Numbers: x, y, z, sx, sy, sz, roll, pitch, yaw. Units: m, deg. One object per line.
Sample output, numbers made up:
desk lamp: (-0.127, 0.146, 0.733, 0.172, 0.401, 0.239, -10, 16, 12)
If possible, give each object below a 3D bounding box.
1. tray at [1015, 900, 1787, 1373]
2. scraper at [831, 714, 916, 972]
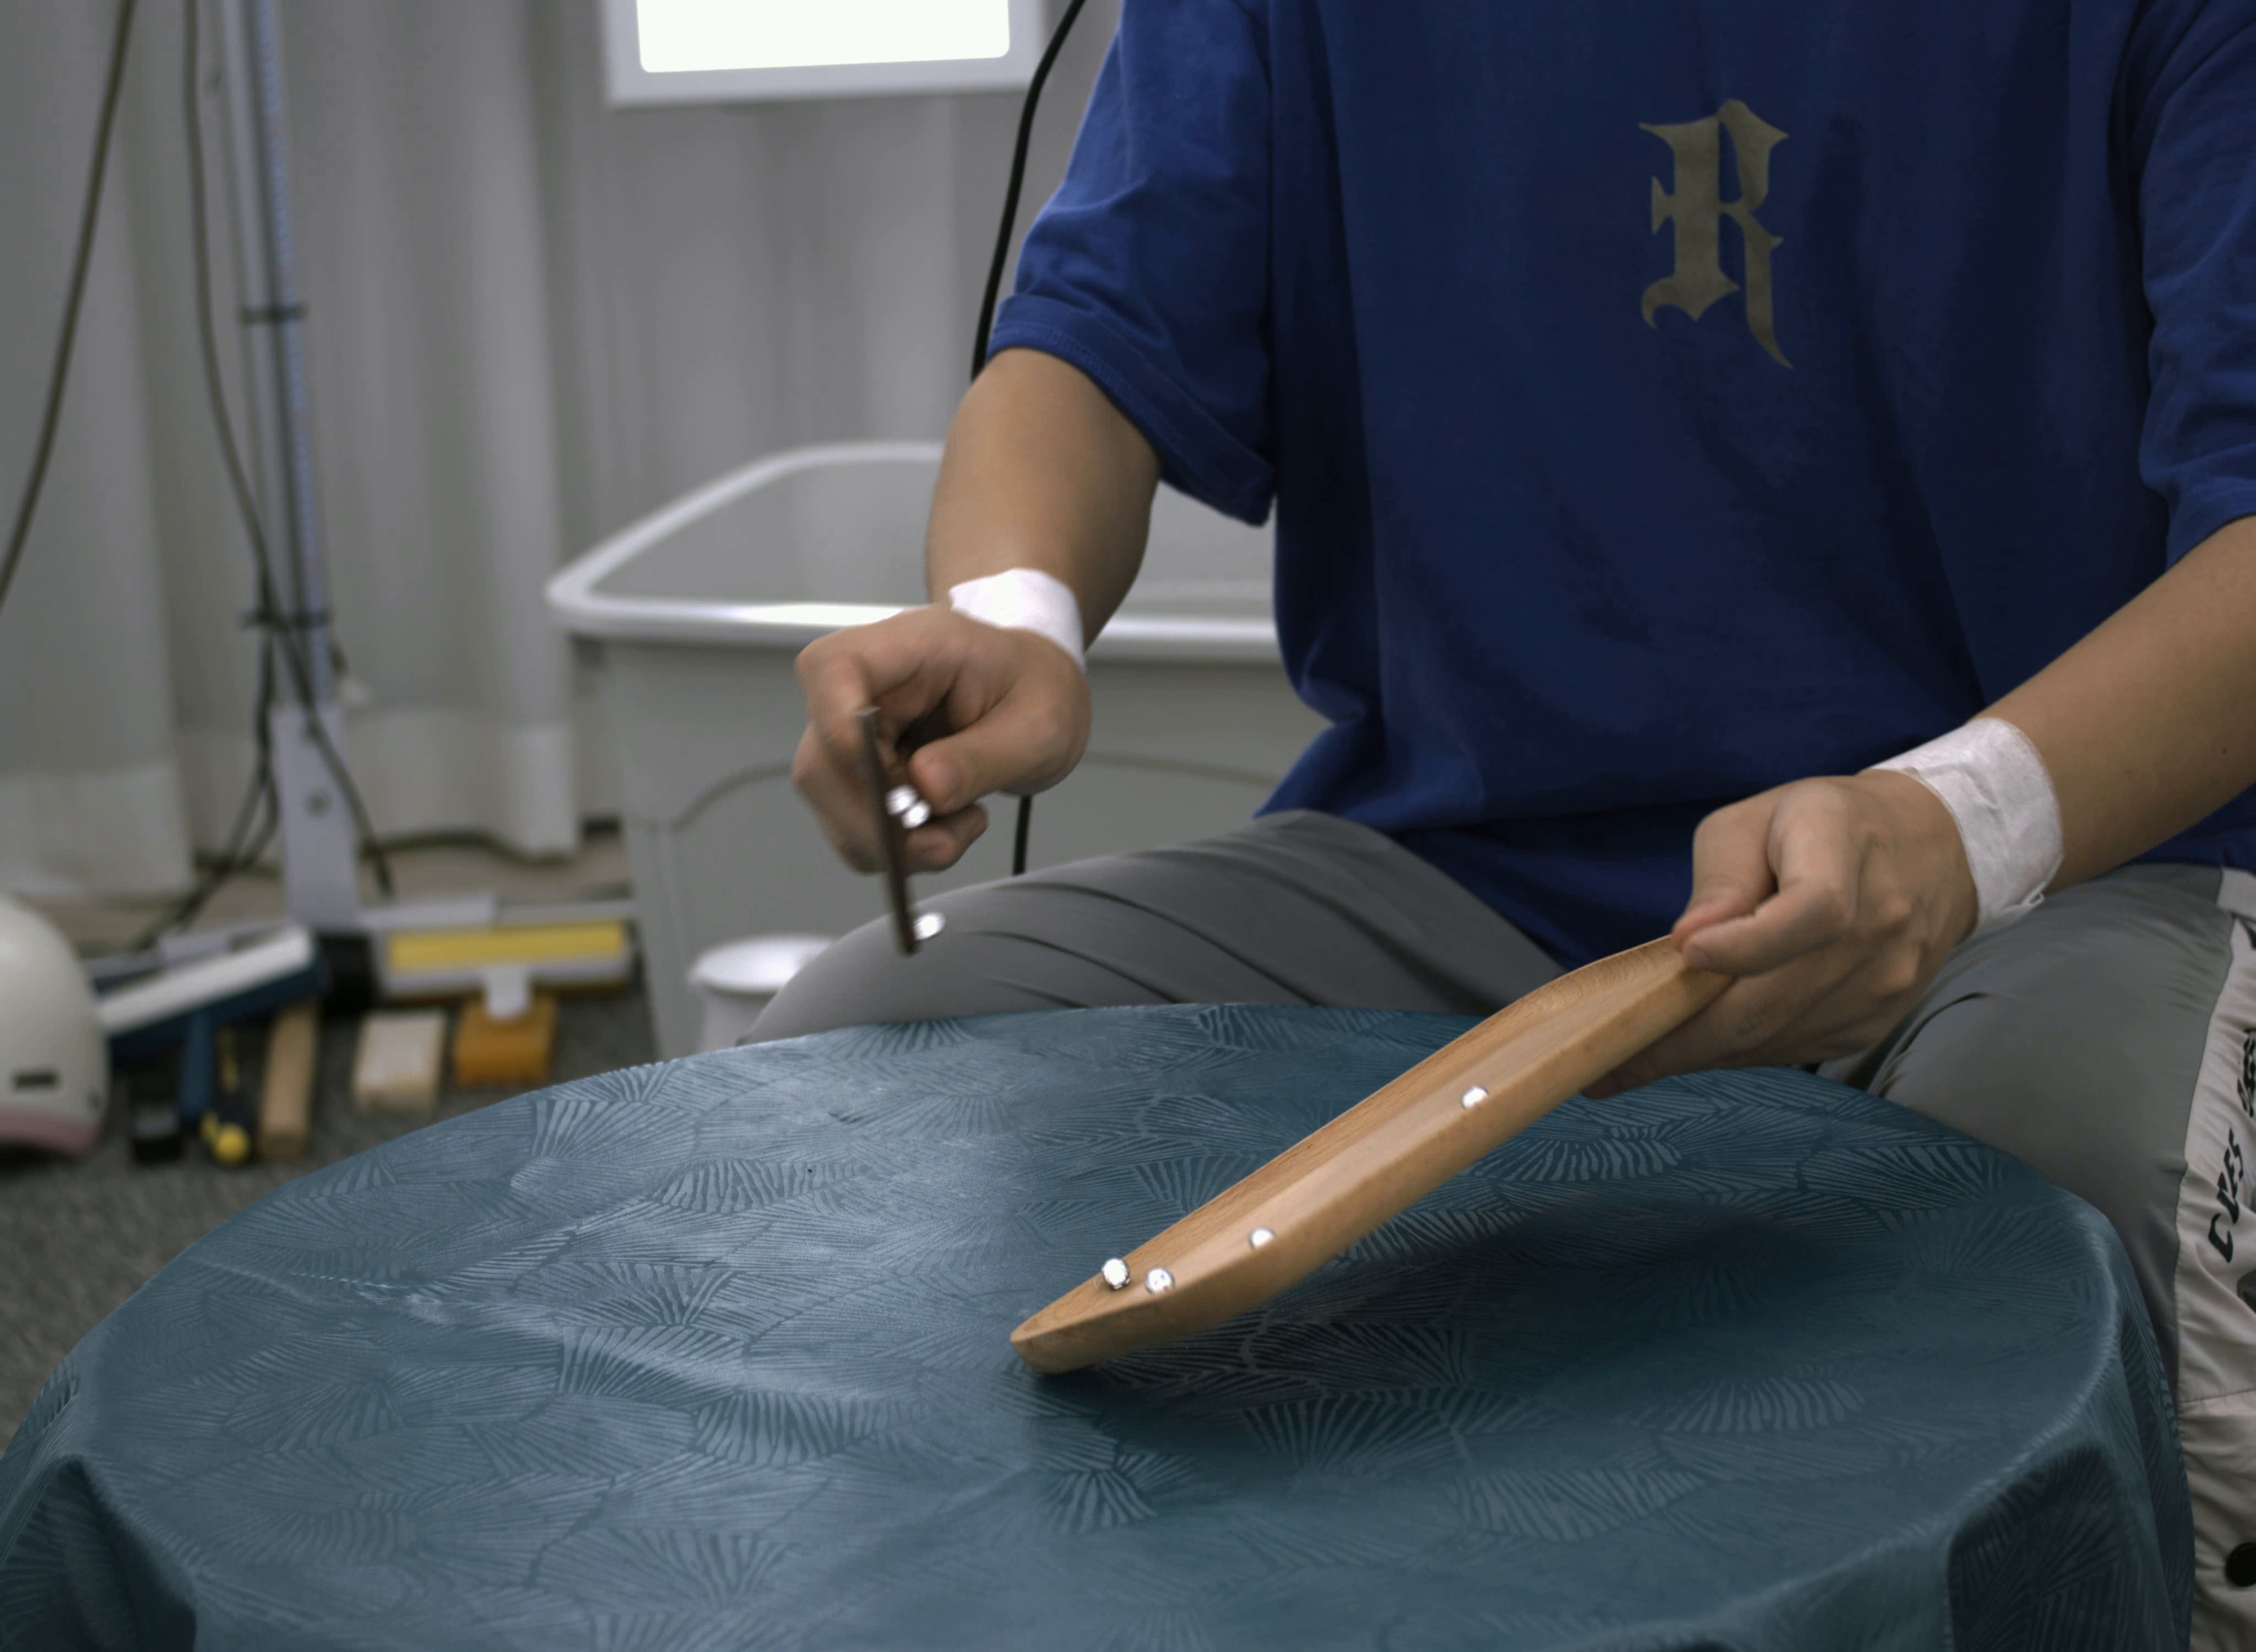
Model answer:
tray: (0.082, 0.090, 1.583, 0.251, 0.023, 0.130, -30, 7, -34)
scraper: (-0.076, -0.003, 1.686, 0.011, 0.076, 0.212, -11, 5, 2)
